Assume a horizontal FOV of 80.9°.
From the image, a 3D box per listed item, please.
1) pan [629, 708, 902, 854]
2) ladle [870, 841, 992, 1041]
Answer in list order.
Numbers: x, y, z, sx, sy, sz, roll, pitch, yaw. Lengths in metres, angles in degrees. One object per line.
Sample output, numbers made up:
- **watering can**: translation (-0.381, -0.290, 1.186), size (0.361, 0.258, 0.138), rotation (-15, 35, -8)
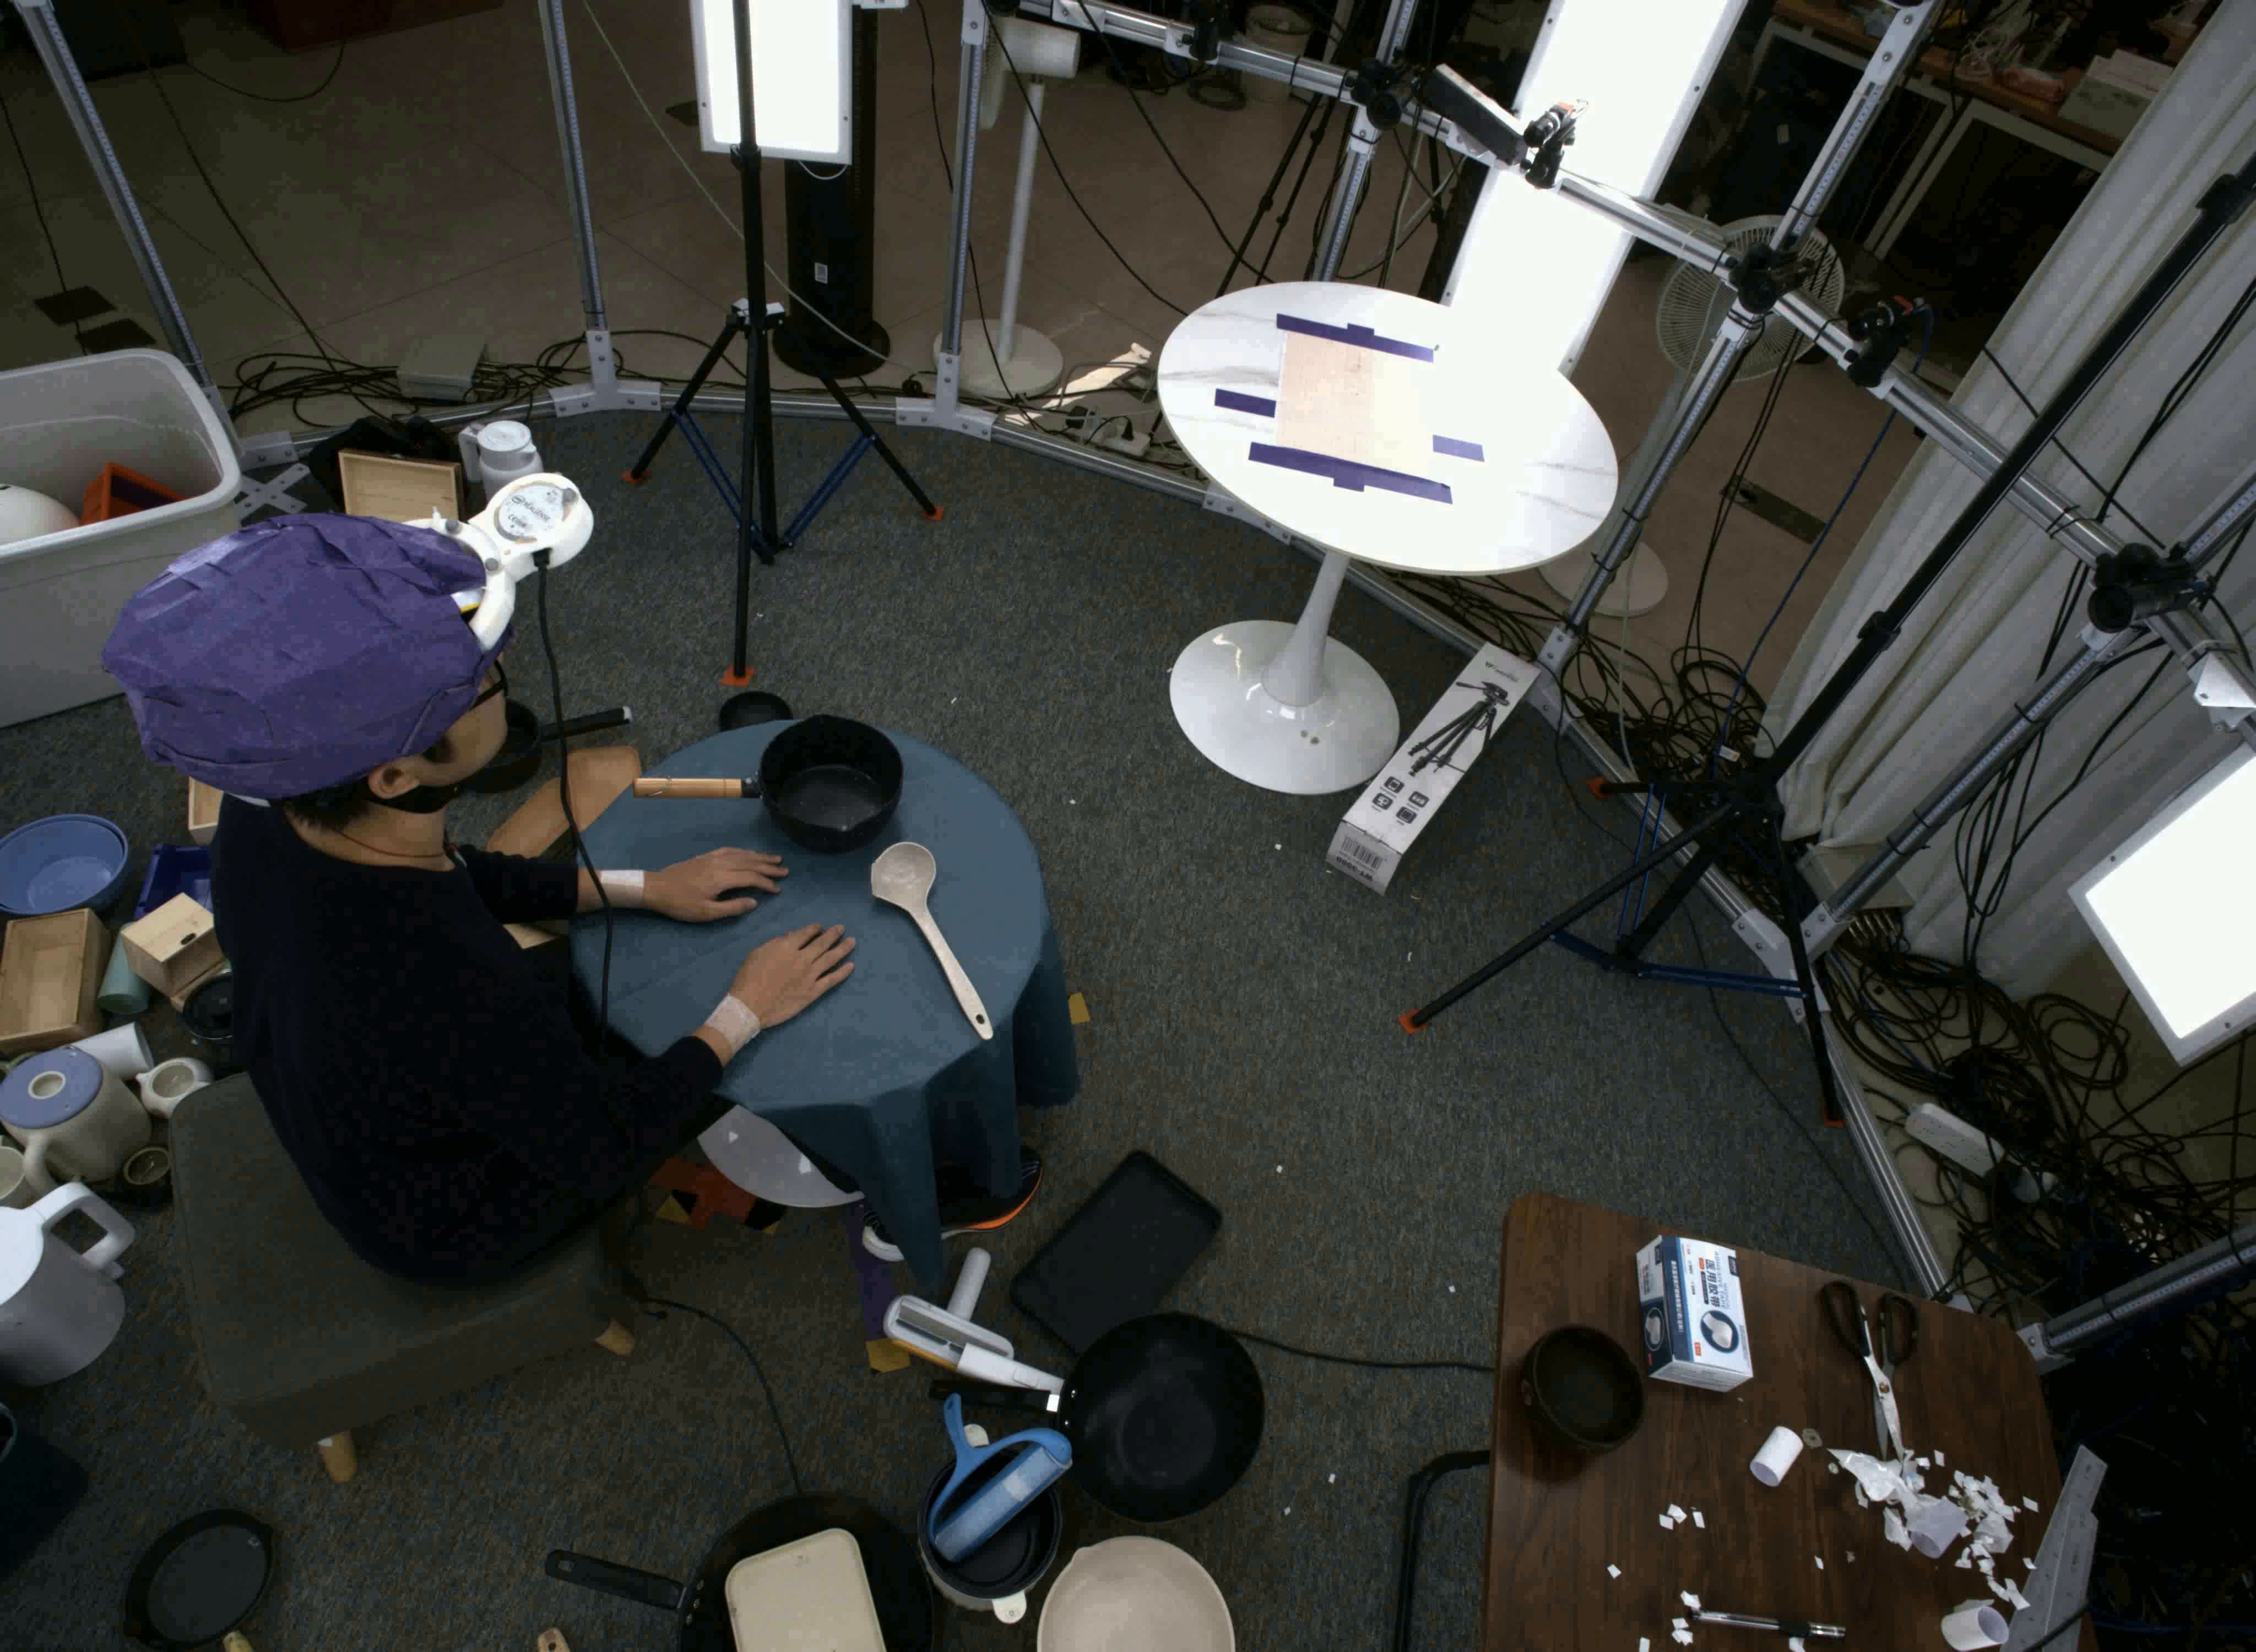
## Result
- **pan**: translation (-0.463, -0.044, 1.667), size (0.345, 0.110, 0.202), rotation (-9, 57, -22)
- **ladle**: translation (-0.233, 0.138, 1.619), size (0.090, 0.070, 0.268), rotation (-18, 60, -34)
